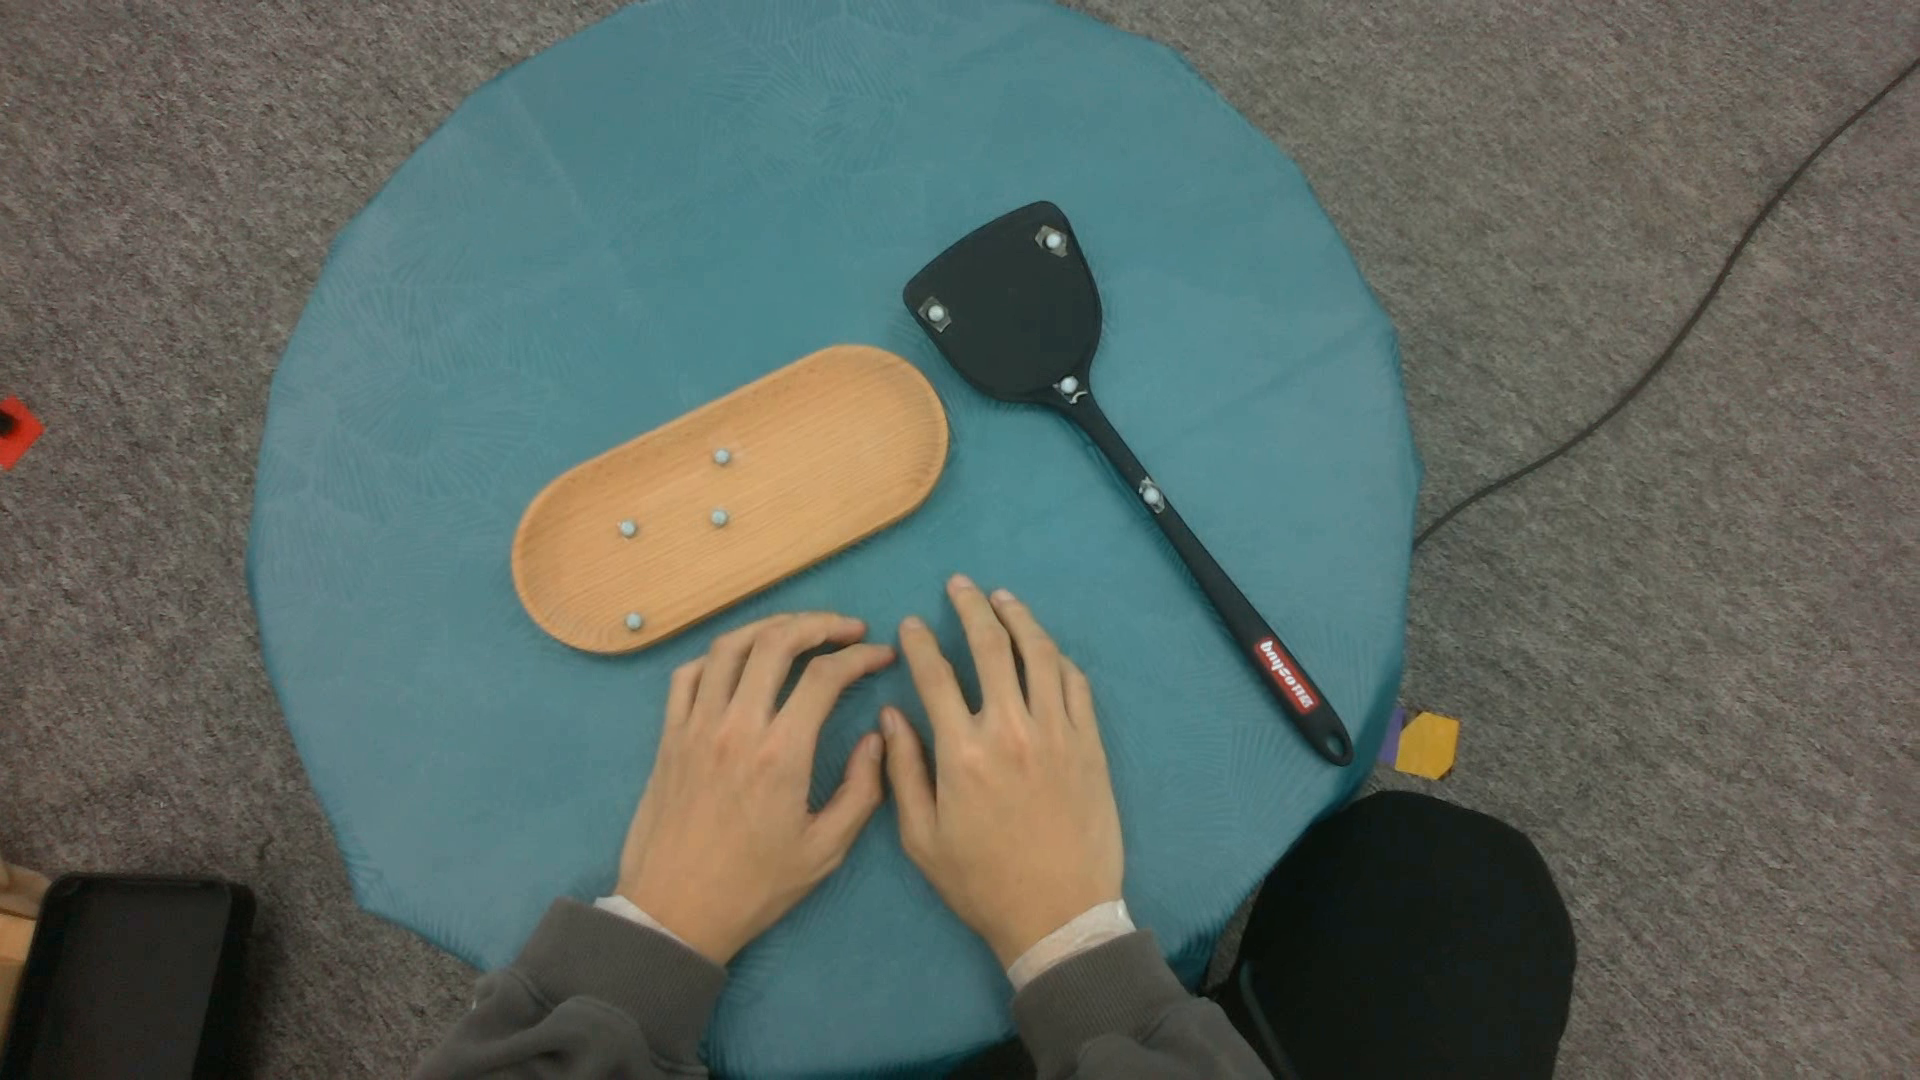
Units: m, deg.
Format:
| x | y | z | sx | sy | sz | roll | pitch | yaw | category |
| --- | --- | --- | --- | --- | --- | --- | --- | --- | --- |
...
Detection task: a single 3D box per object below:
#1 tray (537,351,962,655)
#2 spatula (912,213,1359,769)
| x | y | z | sx | sy | sz | roll | pitch | yaw | category |
| --- | --- | --- | --- | --- | --- | --- | --- | --- | --- |
| -0.107 | -0.020 | 0.715 | 0.231 | 0.020 | 0.102 | -27 | 75 | -8 | tray |
| 0.101 | -0.021 | 0.701 | 0.100 | 0.040 | 0.326 | -34 | 76 | -7 | spatula |
